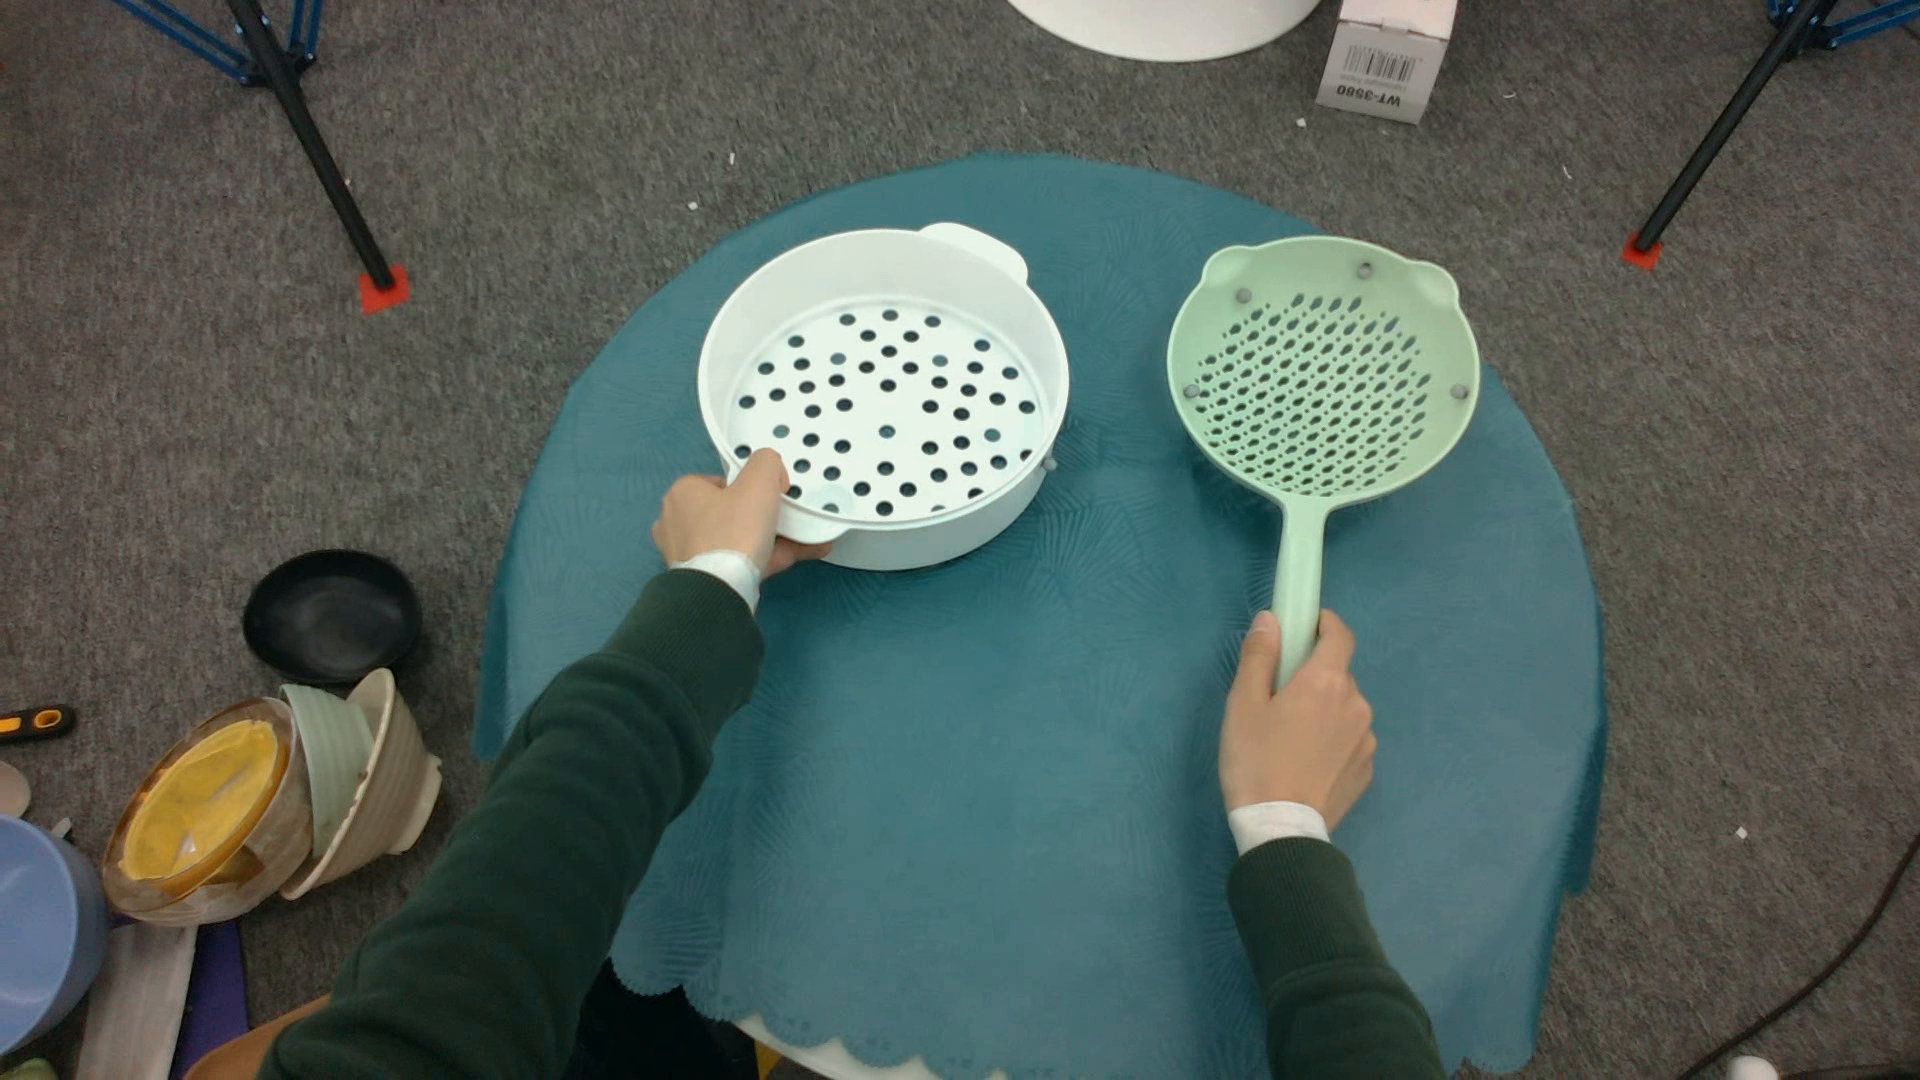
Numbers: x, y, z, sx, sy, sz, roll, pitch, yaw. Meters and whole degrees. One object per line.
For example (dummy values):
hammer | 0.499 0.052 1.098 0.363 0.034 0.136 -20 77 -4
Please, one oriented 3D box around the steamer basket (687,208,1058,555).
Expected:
steamer basket | -0.048 -0.086 0.774 0.202 0.069 0.231 25 62 12

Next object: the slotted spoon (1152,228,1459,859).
slotted spoon | 0.175 -0.012 0.741 0.169 0.075 0.360 8 58 9
